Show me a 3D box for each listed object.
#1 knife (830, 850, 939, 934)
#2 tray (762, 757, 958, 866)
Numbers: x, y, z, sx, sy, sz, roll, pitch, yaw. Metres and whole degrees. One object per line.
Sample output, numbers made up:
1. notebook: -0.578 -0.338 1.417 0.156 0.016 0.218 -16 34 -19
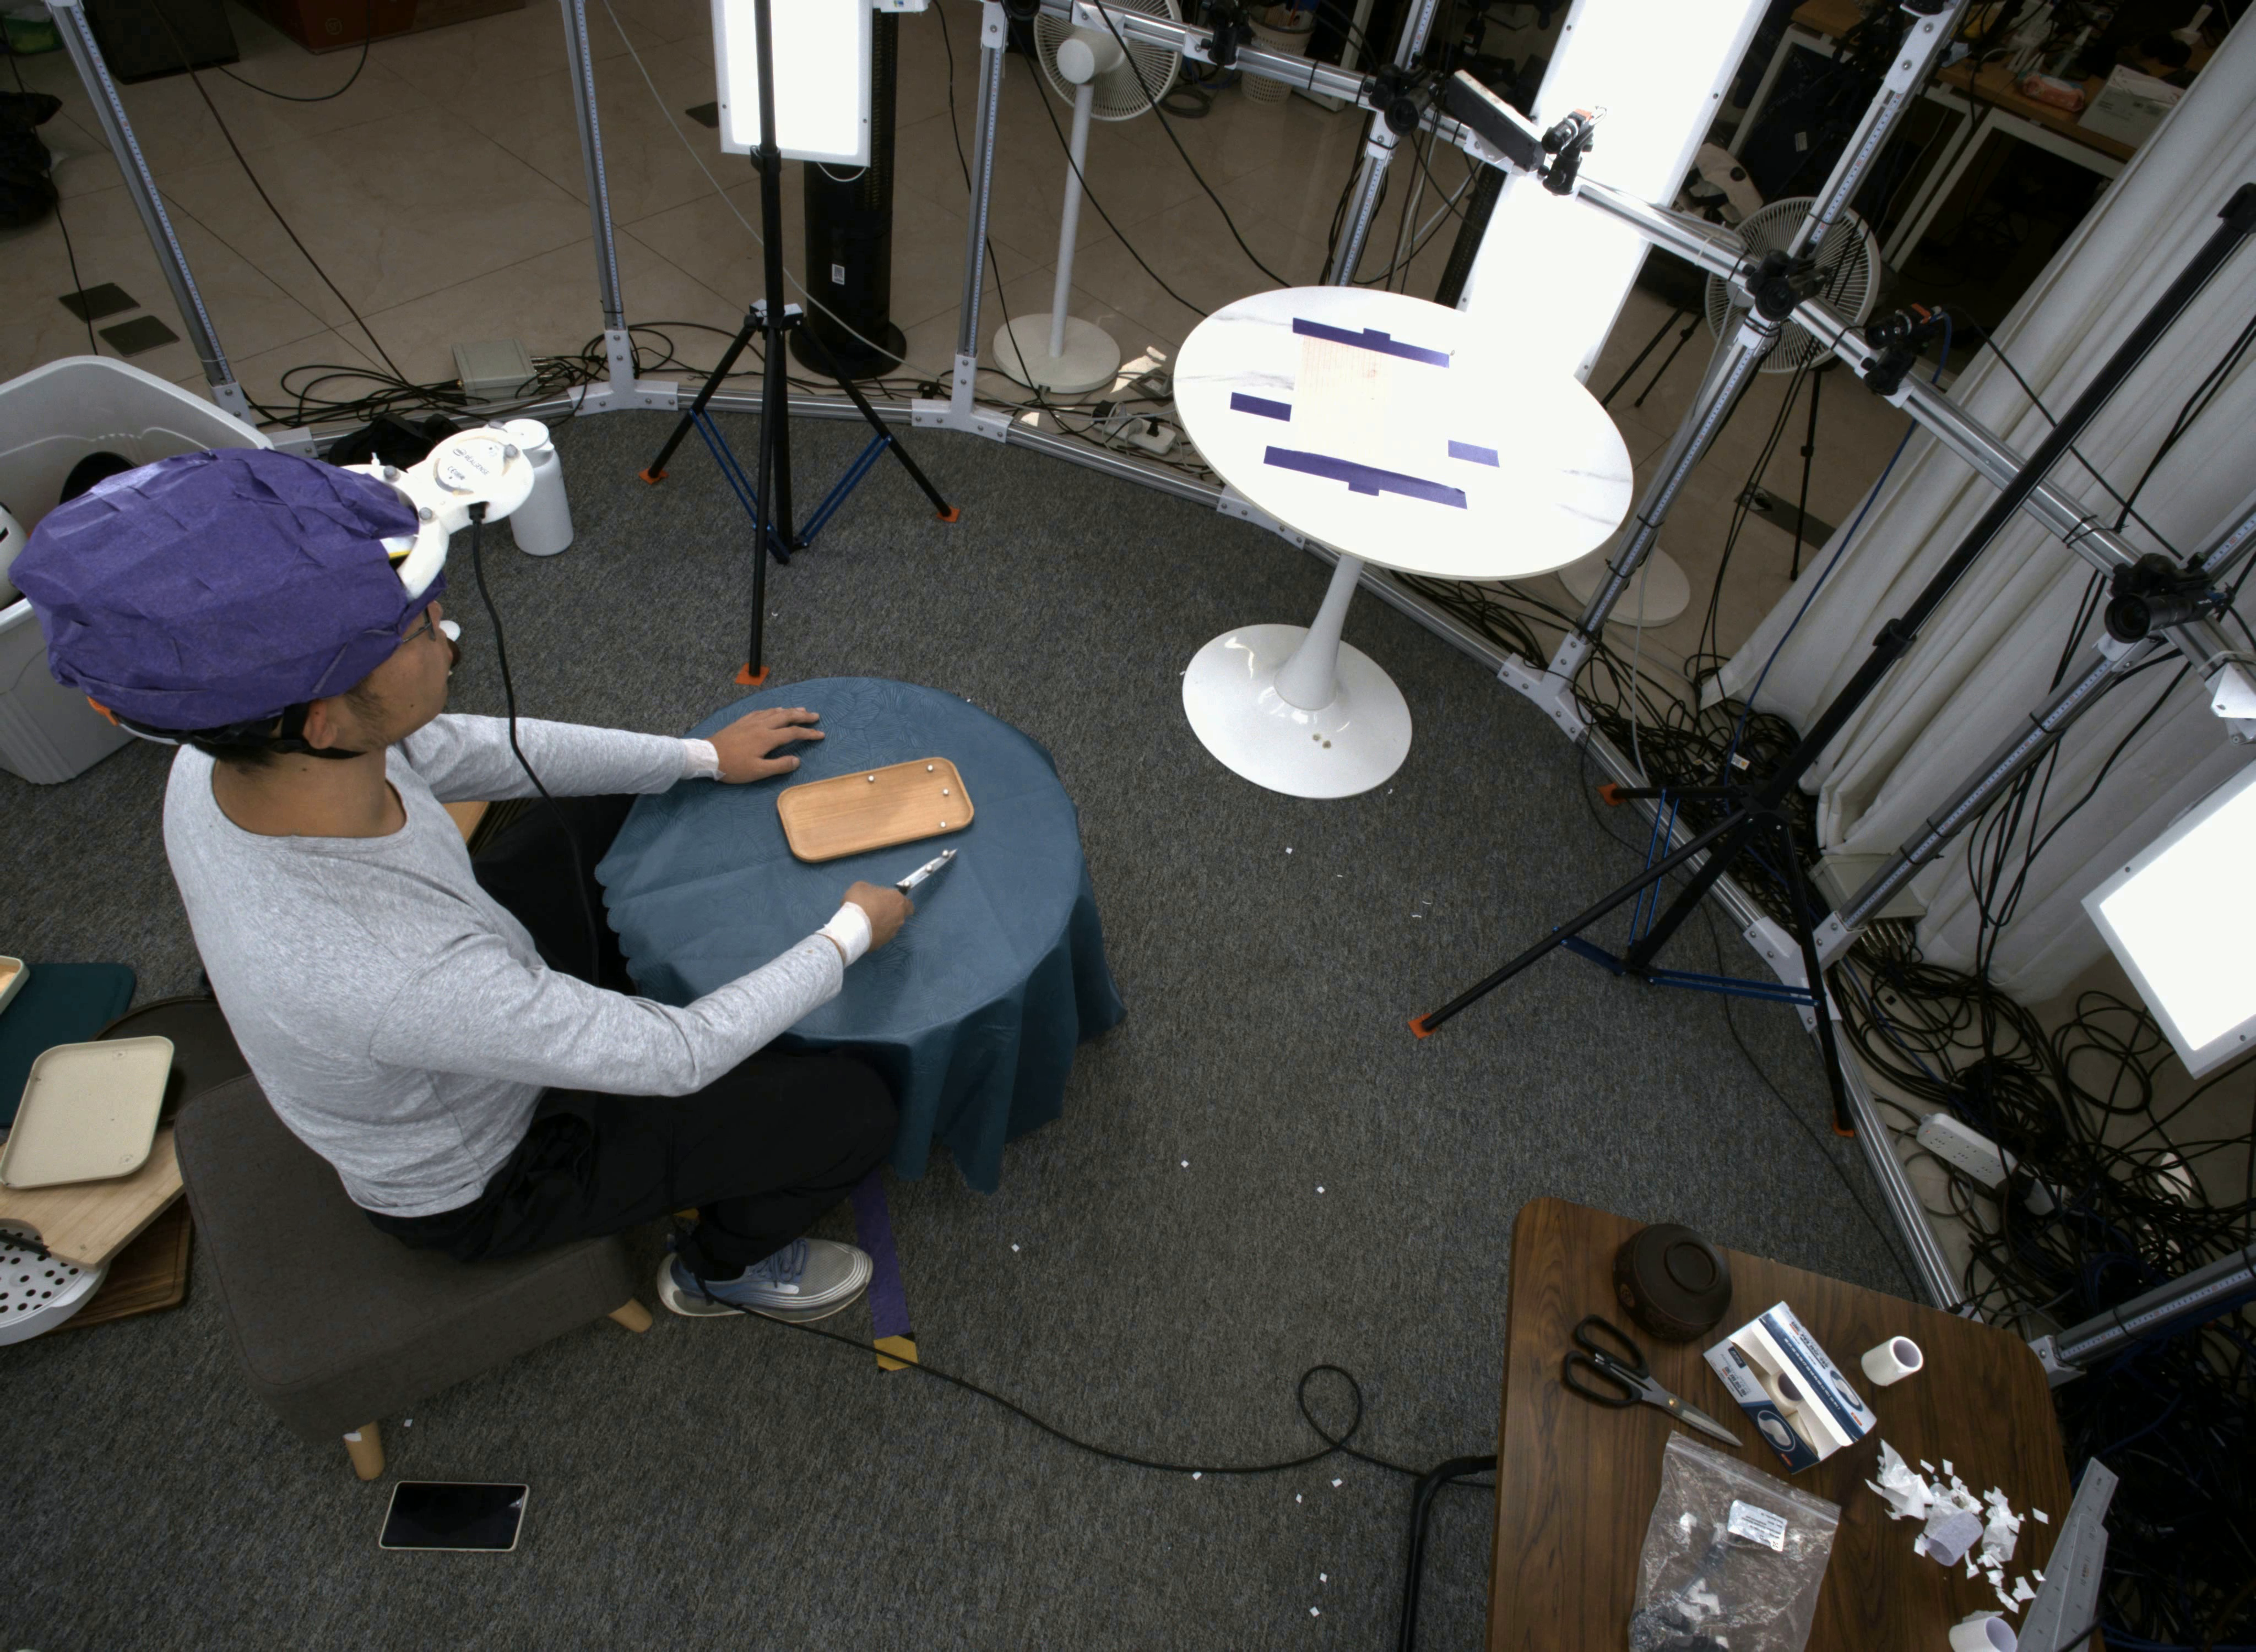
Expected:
1. knife: -0.302 0.078 1.655 0.024 0.017 0.238 22 31 16
2. tray: -0.361 -0.021 1.757 0.252 0.023 0.127 -14 56 -22
